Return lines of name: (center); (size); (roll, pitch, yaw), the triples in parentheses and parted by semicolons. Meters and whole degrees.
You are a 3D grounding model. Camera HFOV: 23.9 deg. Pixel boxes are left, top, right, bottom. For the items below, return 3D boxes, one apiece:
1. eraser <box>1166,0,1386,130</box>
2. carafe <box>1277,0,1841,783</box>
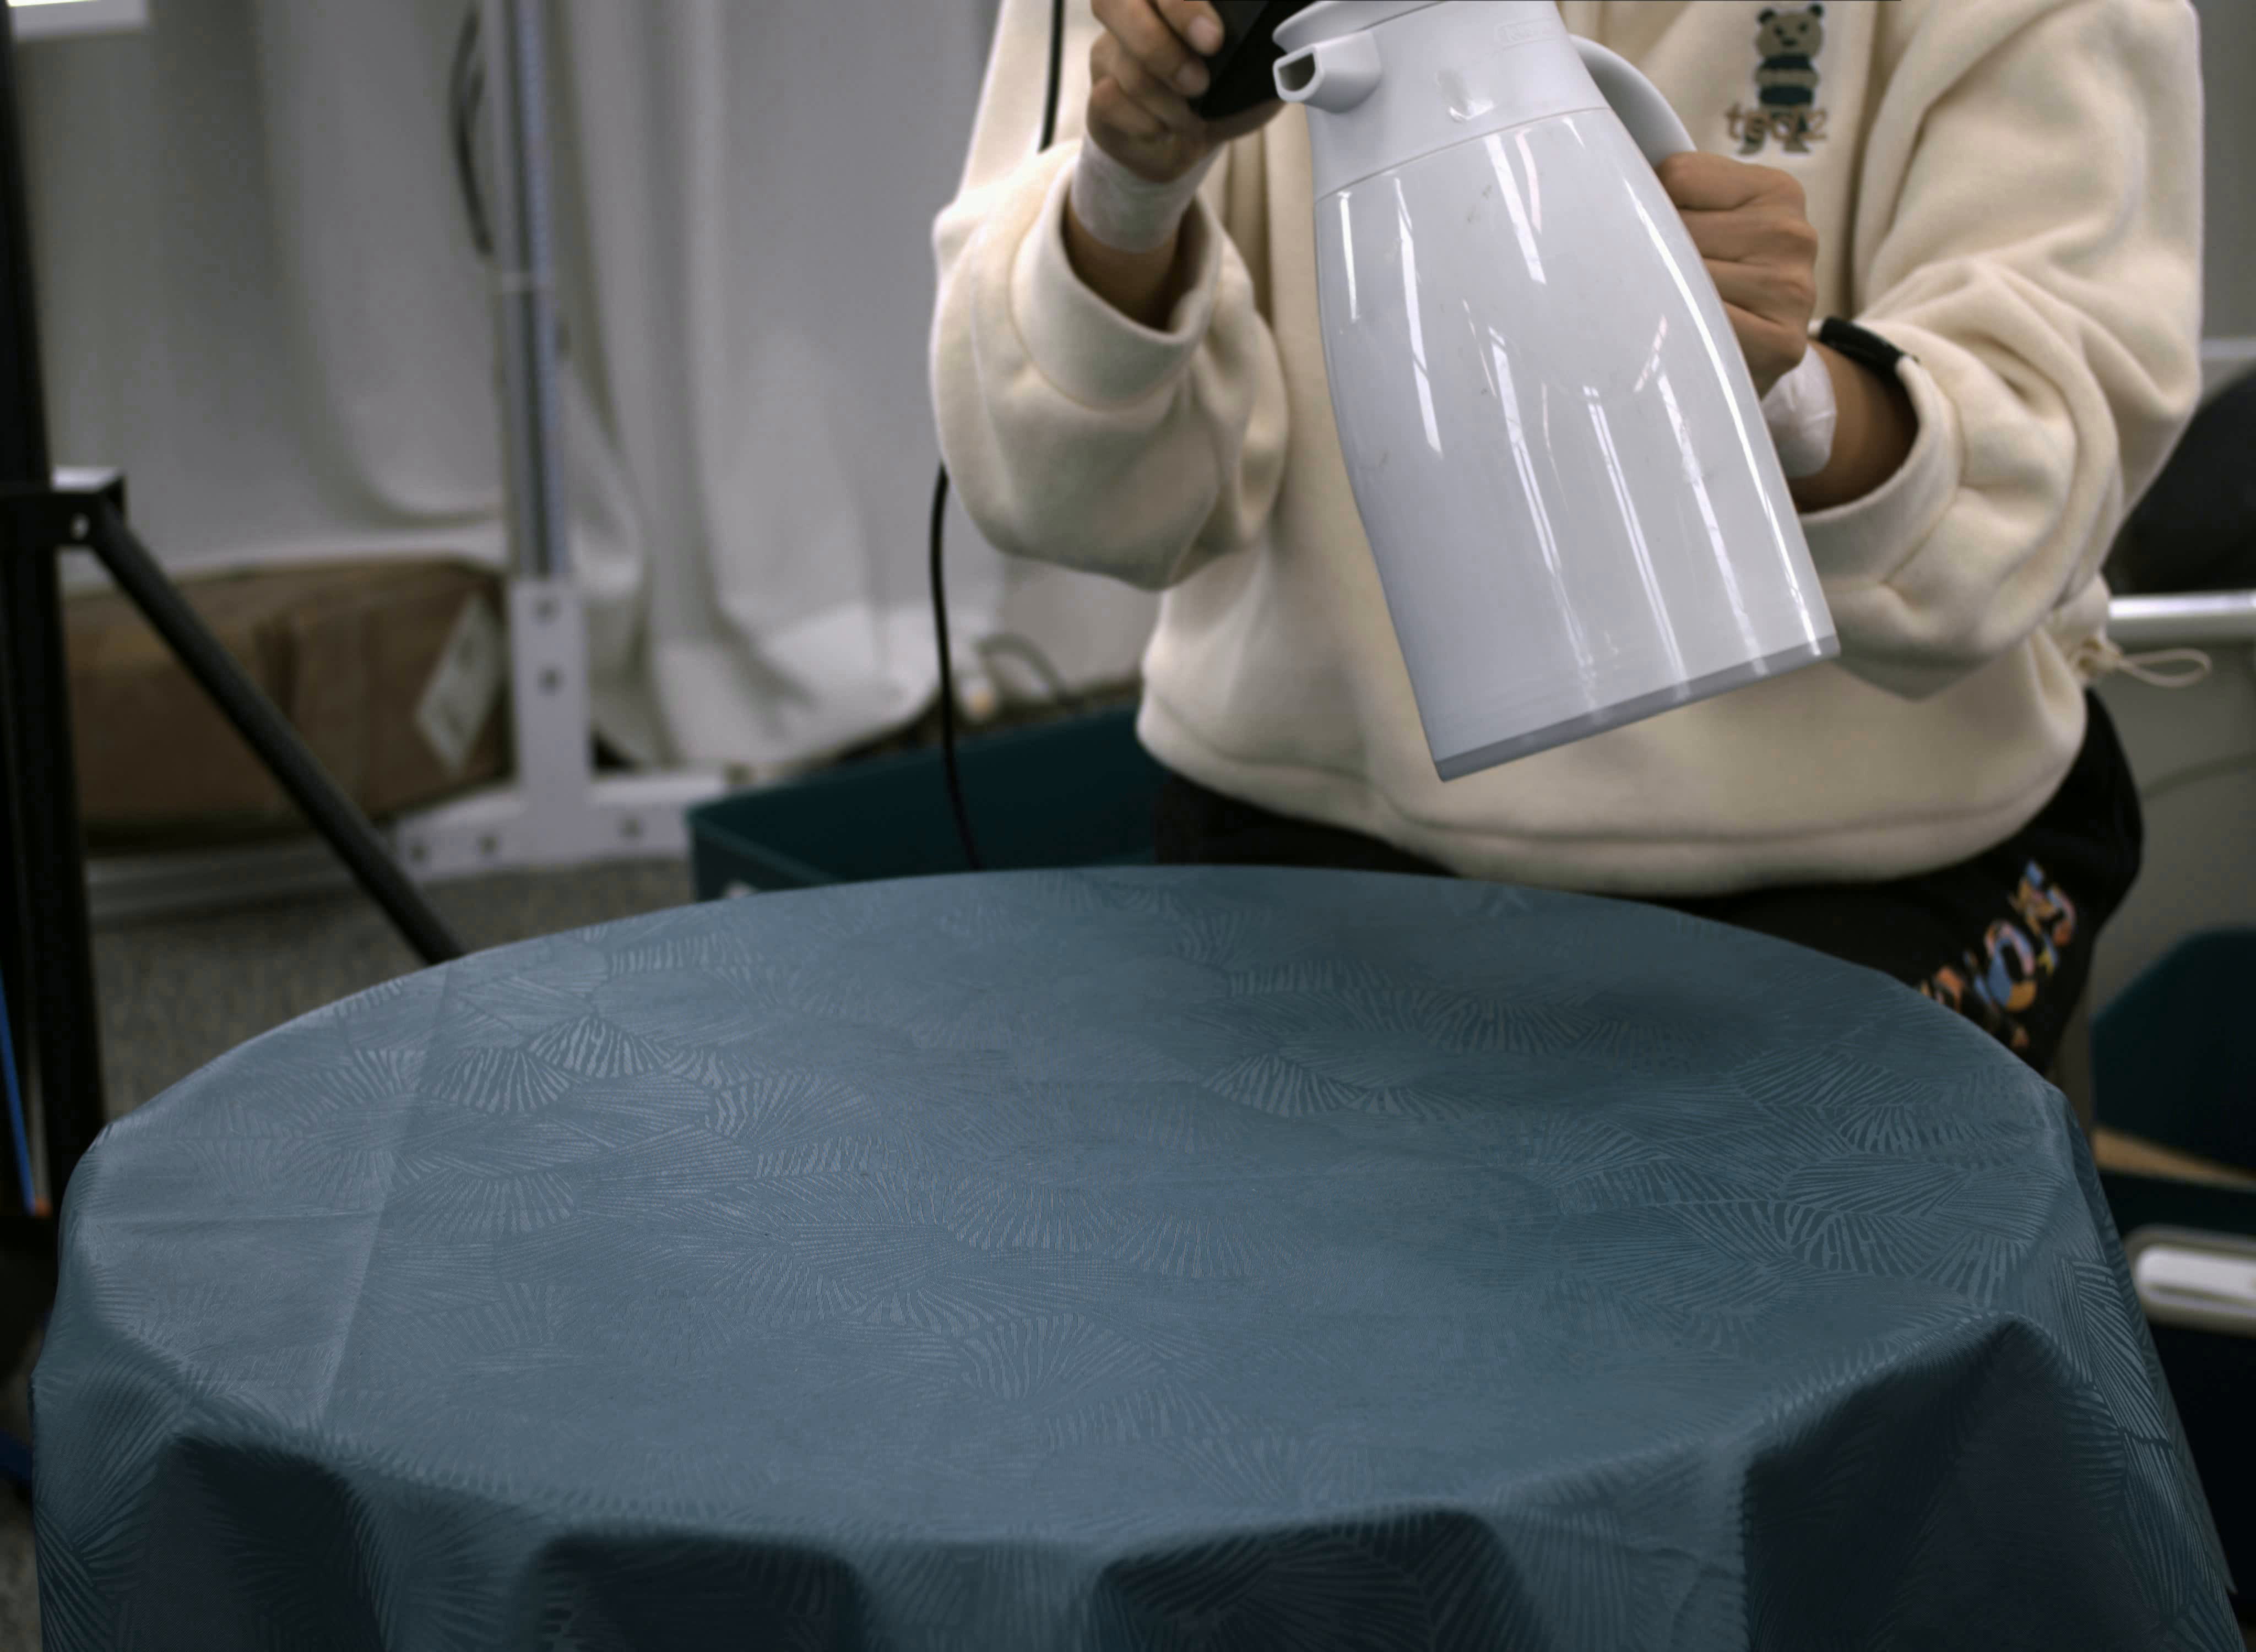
eraser: (0.058, -0.268, 1.696); (0.052, 0.031, 0.126); (-20, -16, -27)
carafe: (0.136, -0.154, 1.679); (0.164, 0.250, 0.135); (-15, -3, -45)
